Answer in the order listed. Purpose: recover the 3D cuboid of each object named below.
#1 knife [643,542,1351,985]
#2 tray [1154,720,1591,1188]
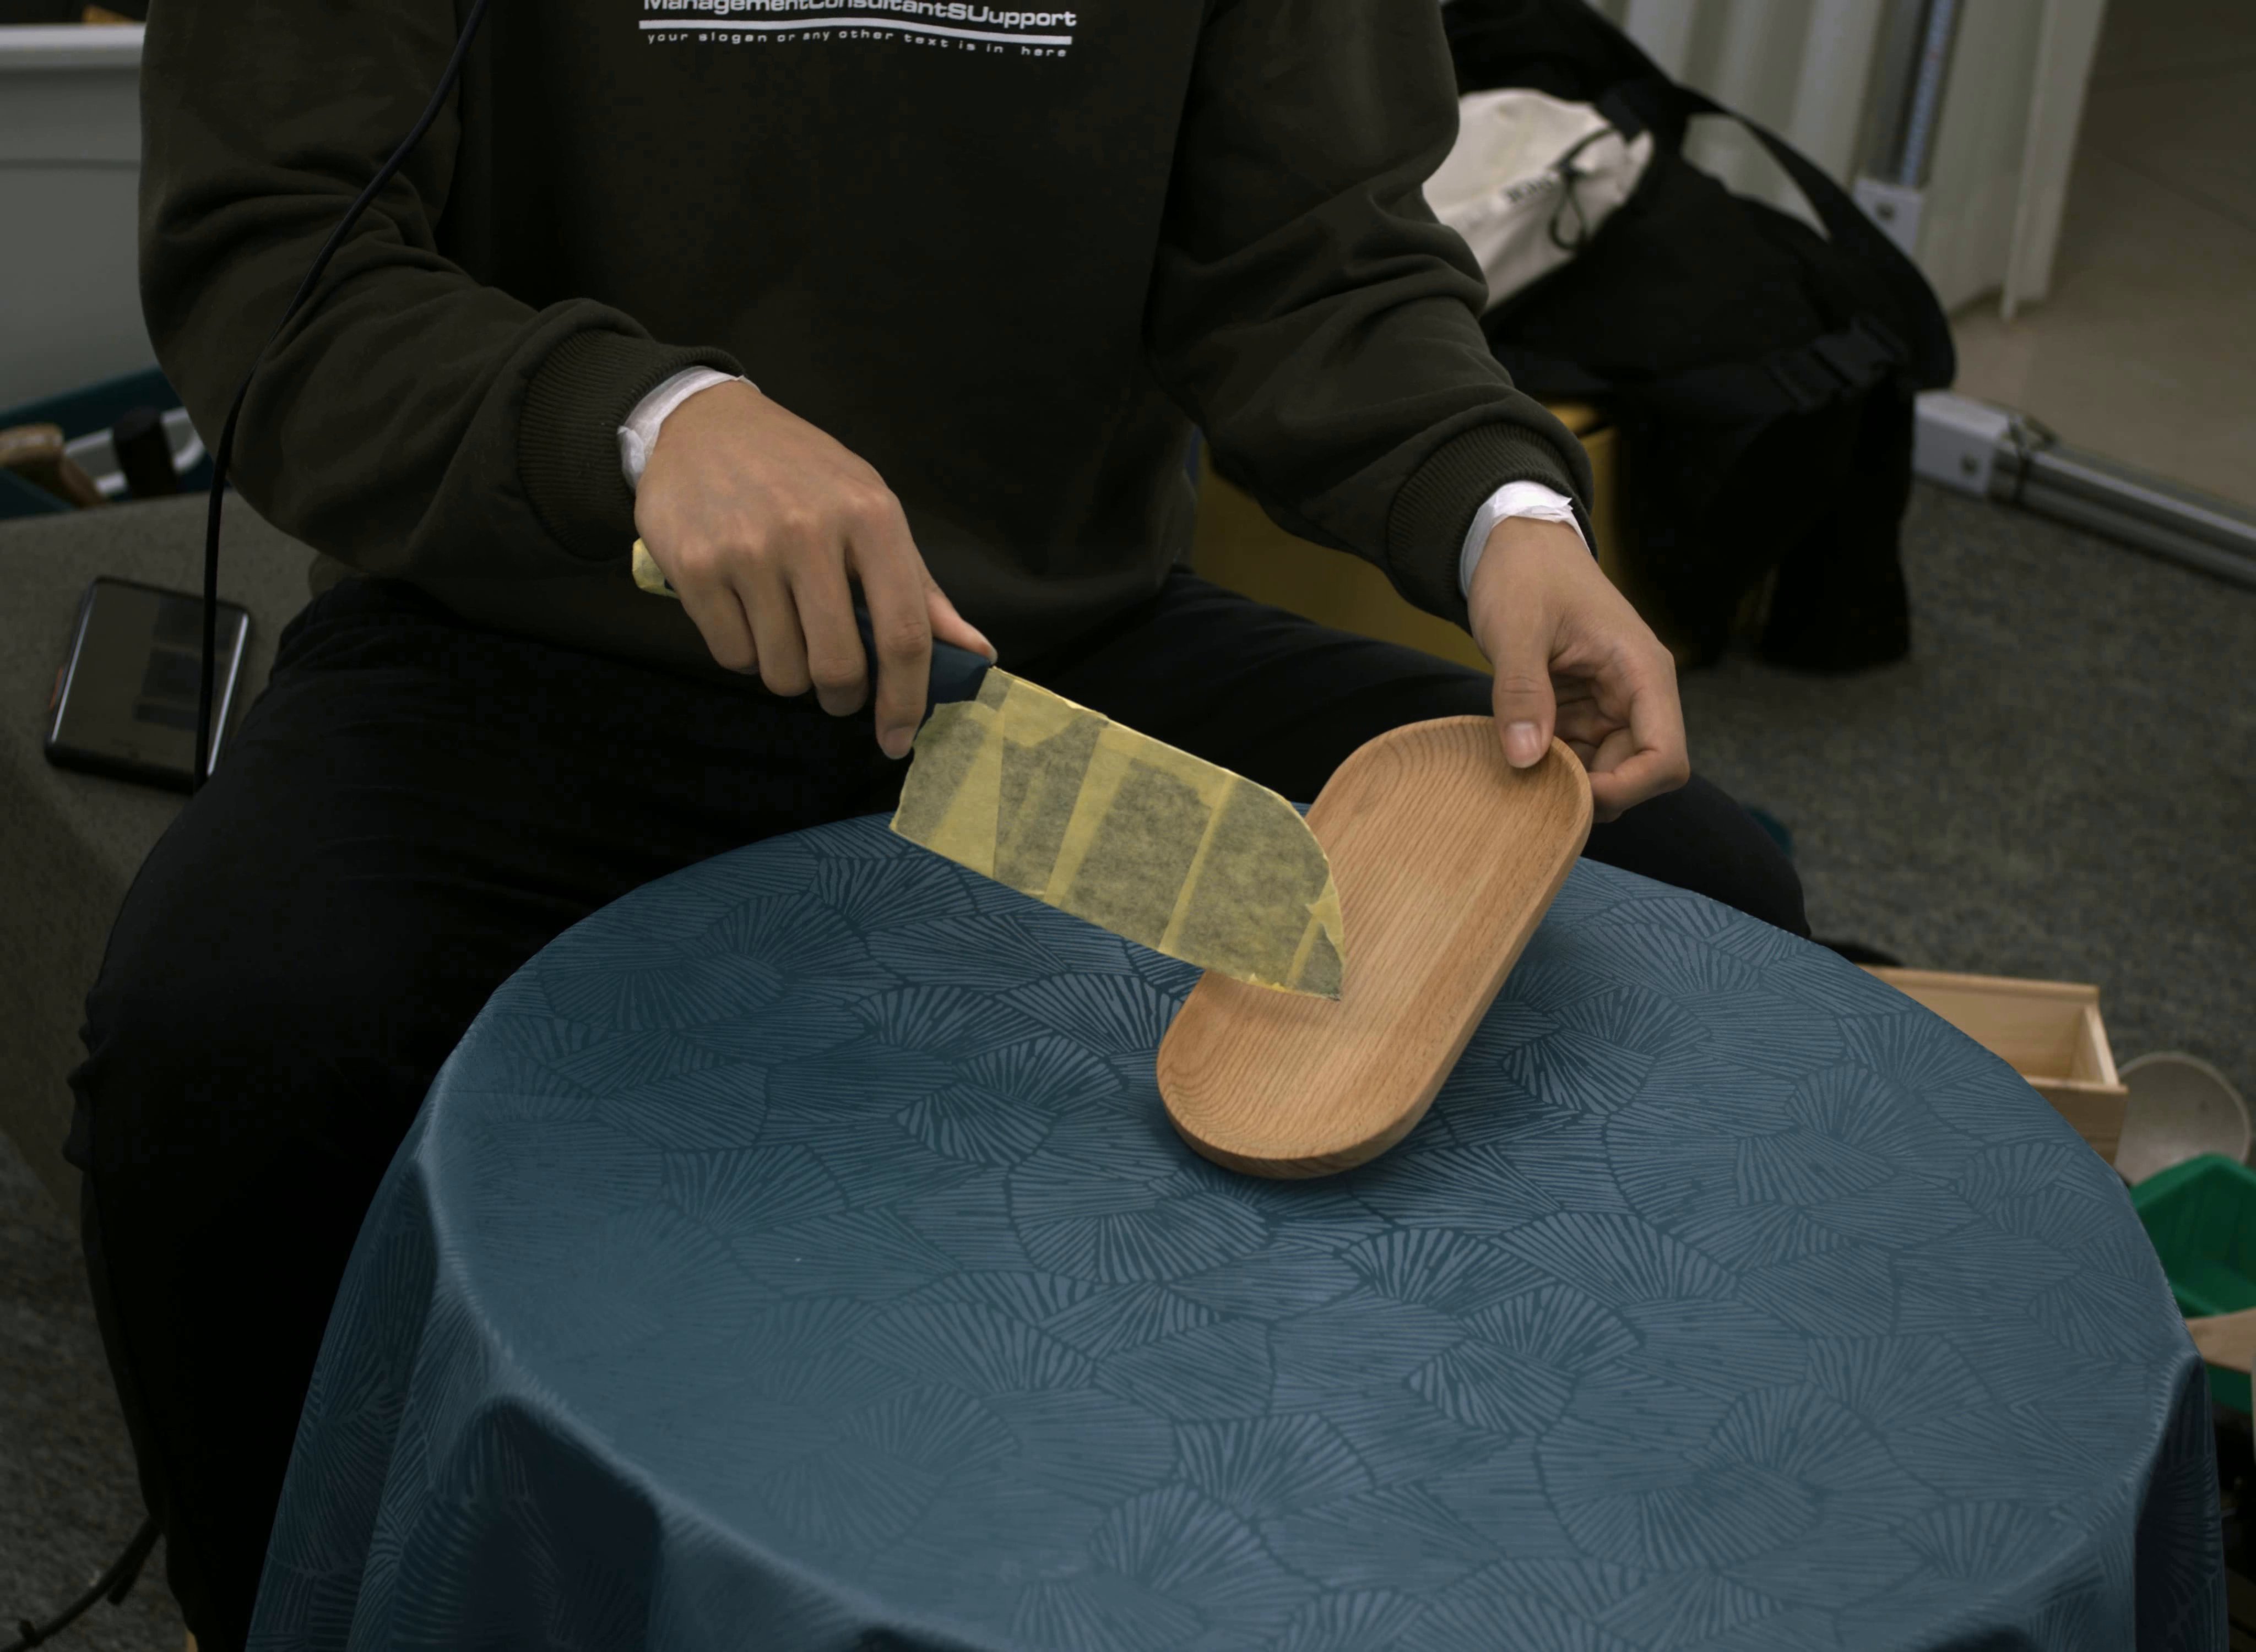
[{"bbox_3d":[-0.049,-0.022,1.877,0.290,0.081,0.027,28,18,11],"label":"knife"},{"bbox_3d":[0.089,0.043,1.883,0.102,0.020,0.232,11,48,27],"label":"tray"}]
